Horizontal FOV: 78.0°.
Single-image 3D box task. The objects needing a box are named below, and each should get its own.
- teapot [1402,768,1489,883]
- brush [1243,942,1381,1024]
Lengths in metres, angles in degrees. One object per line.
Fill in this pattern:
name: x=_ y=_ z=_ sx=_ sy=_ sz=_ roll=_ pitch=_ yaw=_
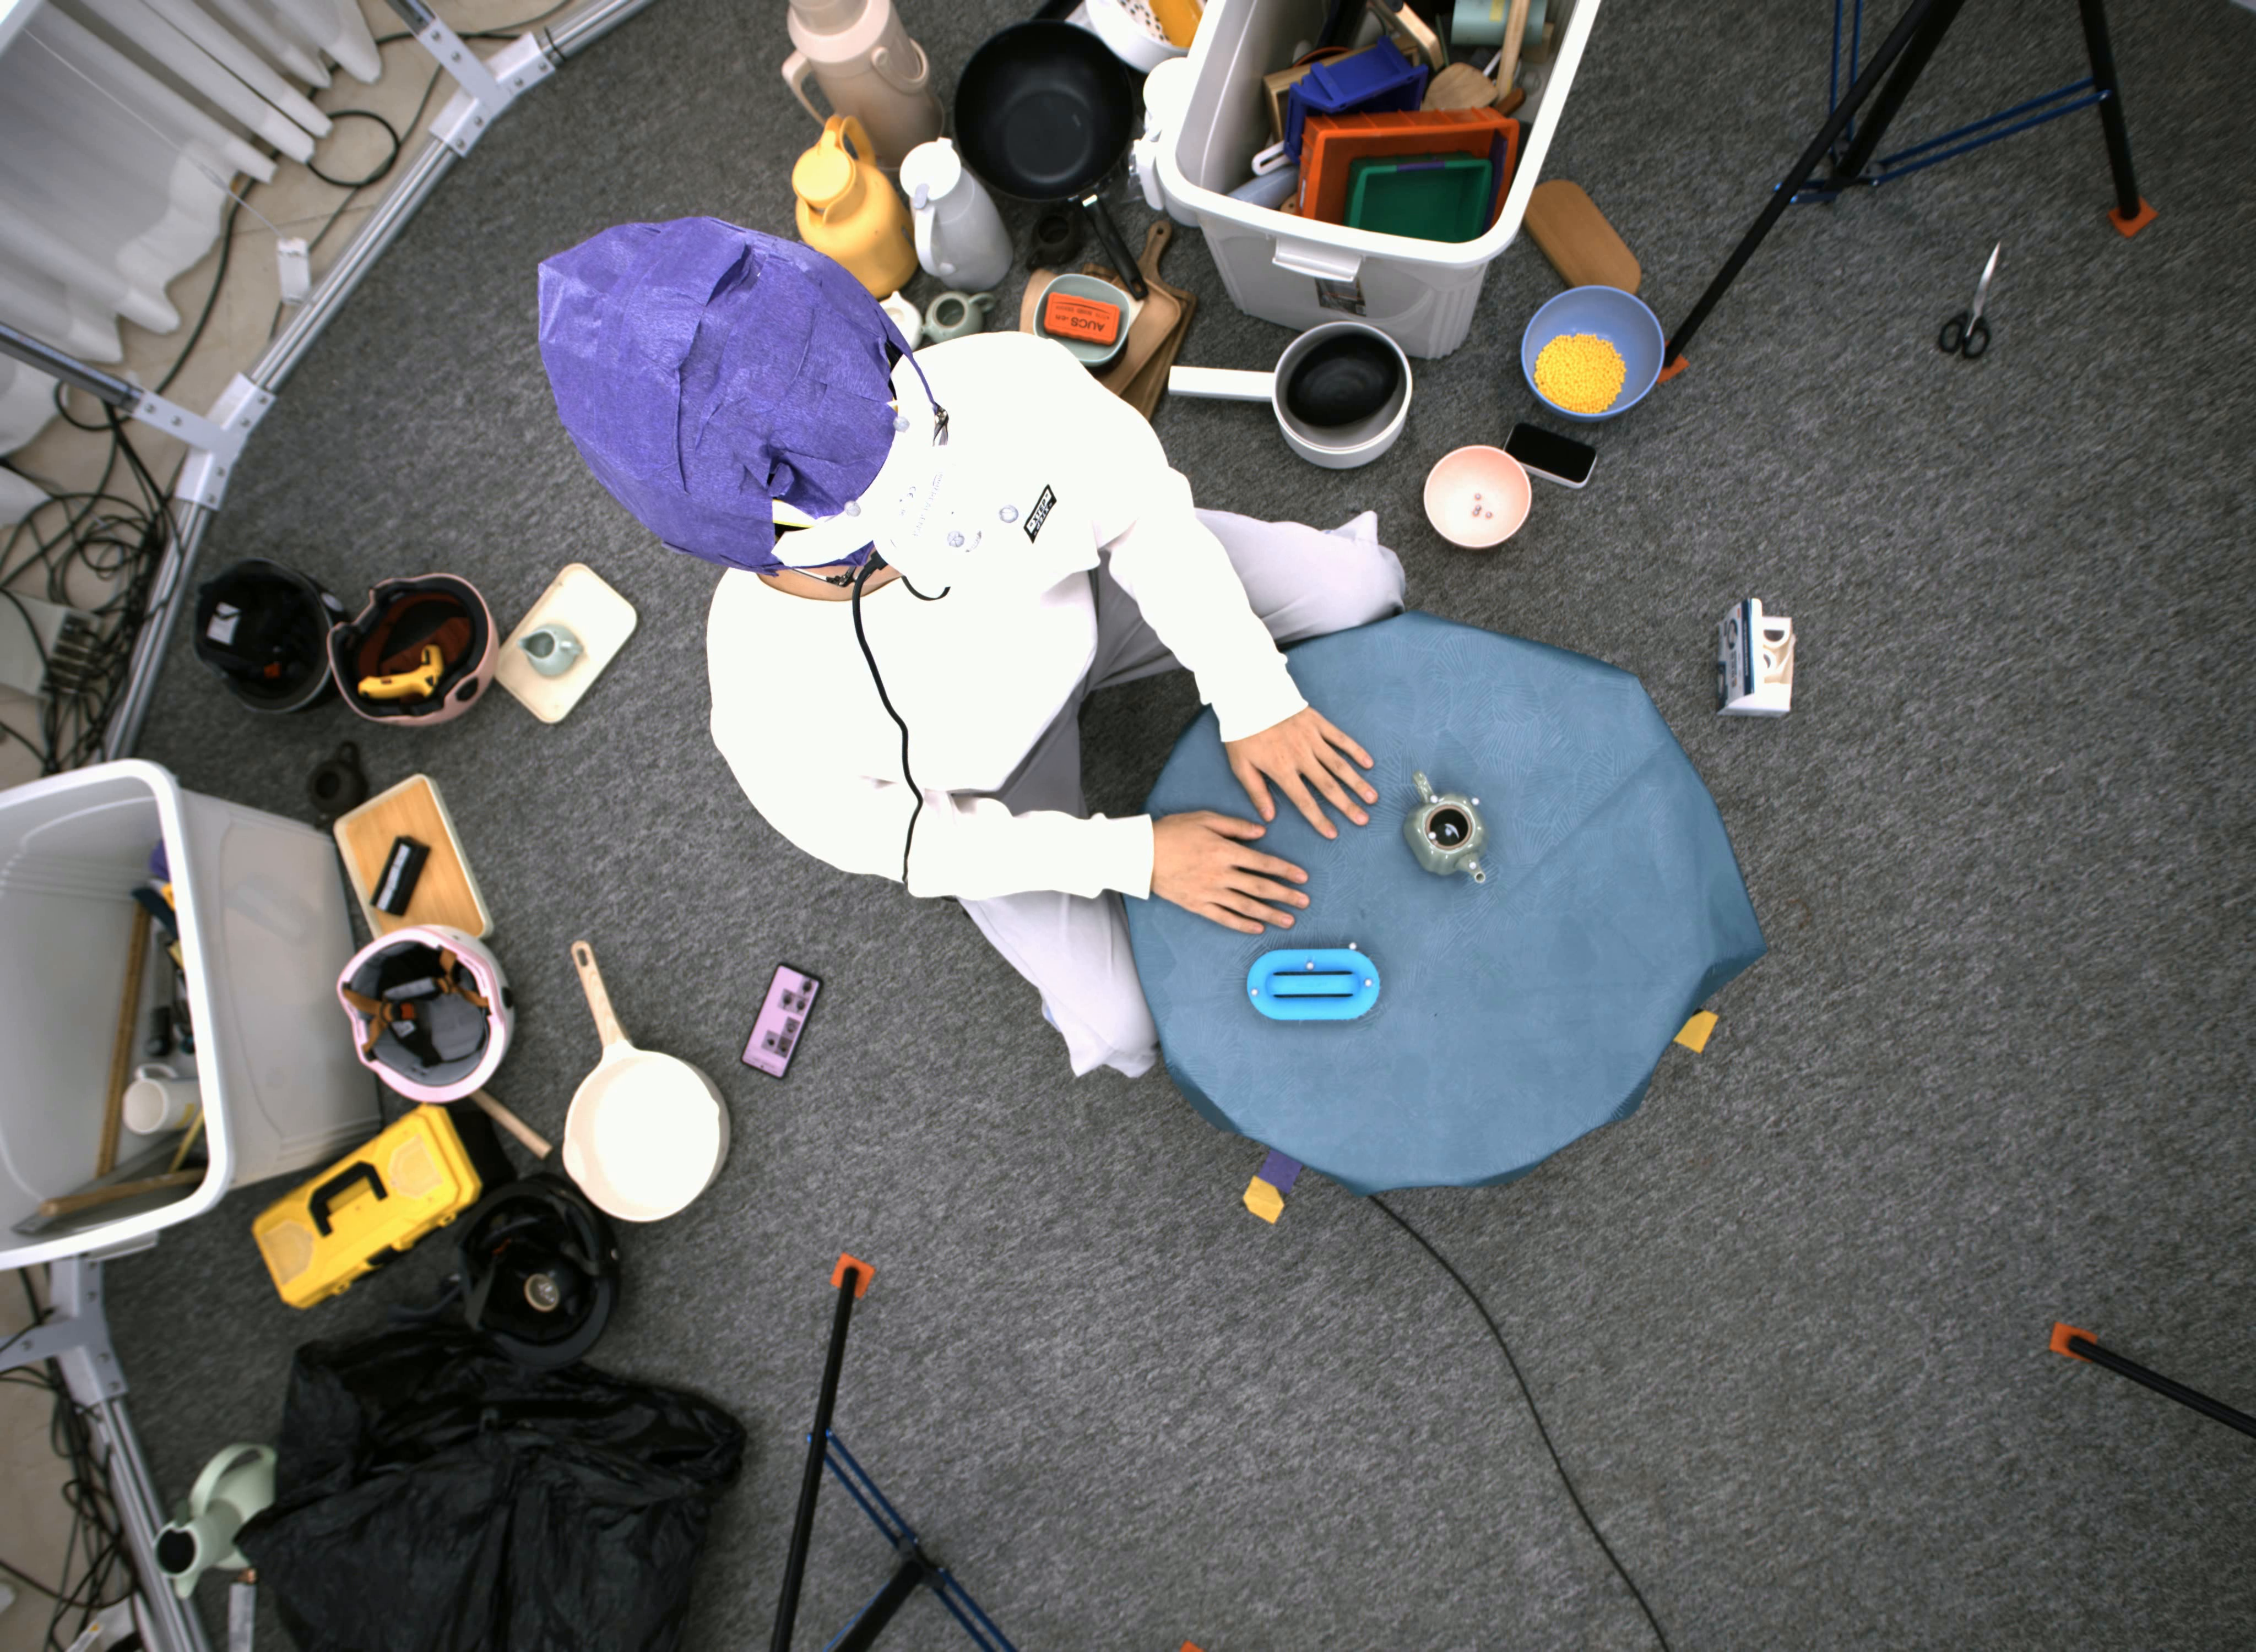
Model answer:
teapot: x=0.328 y=0.001 z=1.415 sx=0.080 sy=0.075 sz=0.131 roll=-30 pitch=81 yaw=6
brush: x=0.190 y=0.162 z=1.436 sx=0.142 sy=0.063 sz=0.084 roll=0 pitch=90 yaw=12
